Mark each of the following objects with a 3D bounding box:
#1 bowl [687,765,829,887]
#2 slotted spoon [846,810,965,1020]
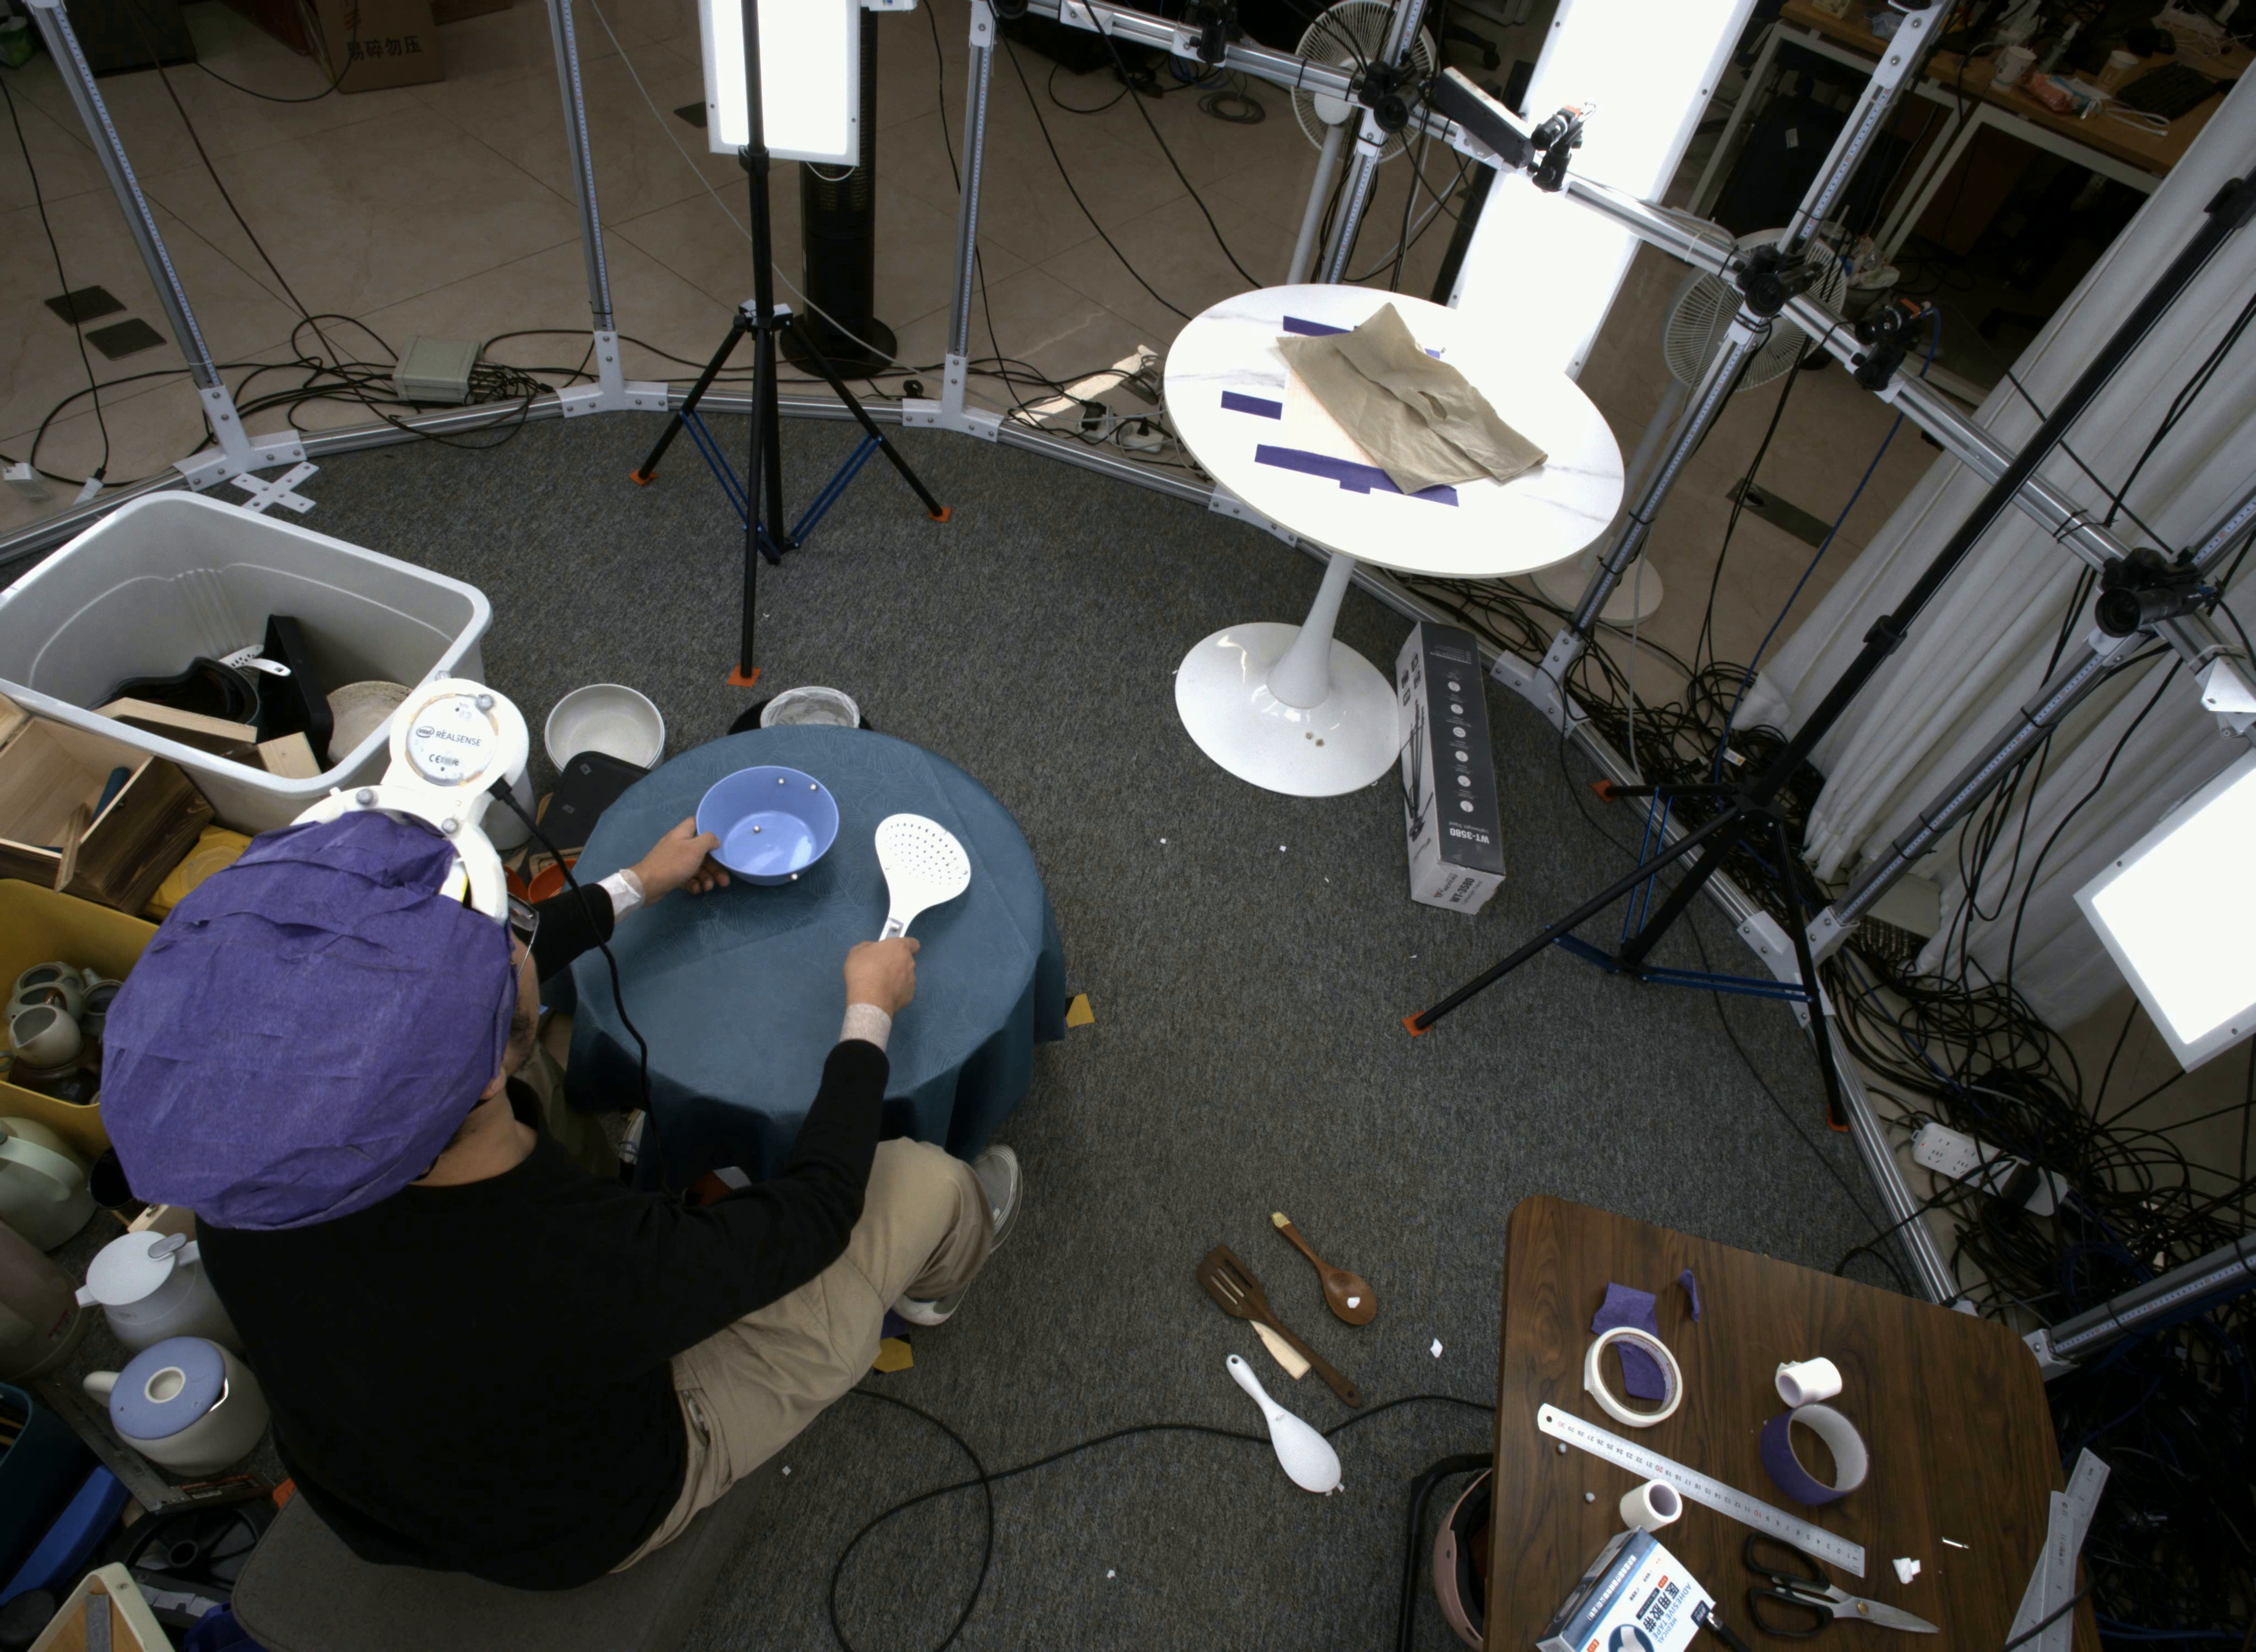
[{"bbox_3d":[-0.470,0.009,1.654,0.175,0.072,0.173,7,53,-8],"label":"bowl"},{"bbox_3d":[-0.286,0.104,1.601,0.138,0.046,0.343,32,32,-17],"label":"slotted spoon"}]
